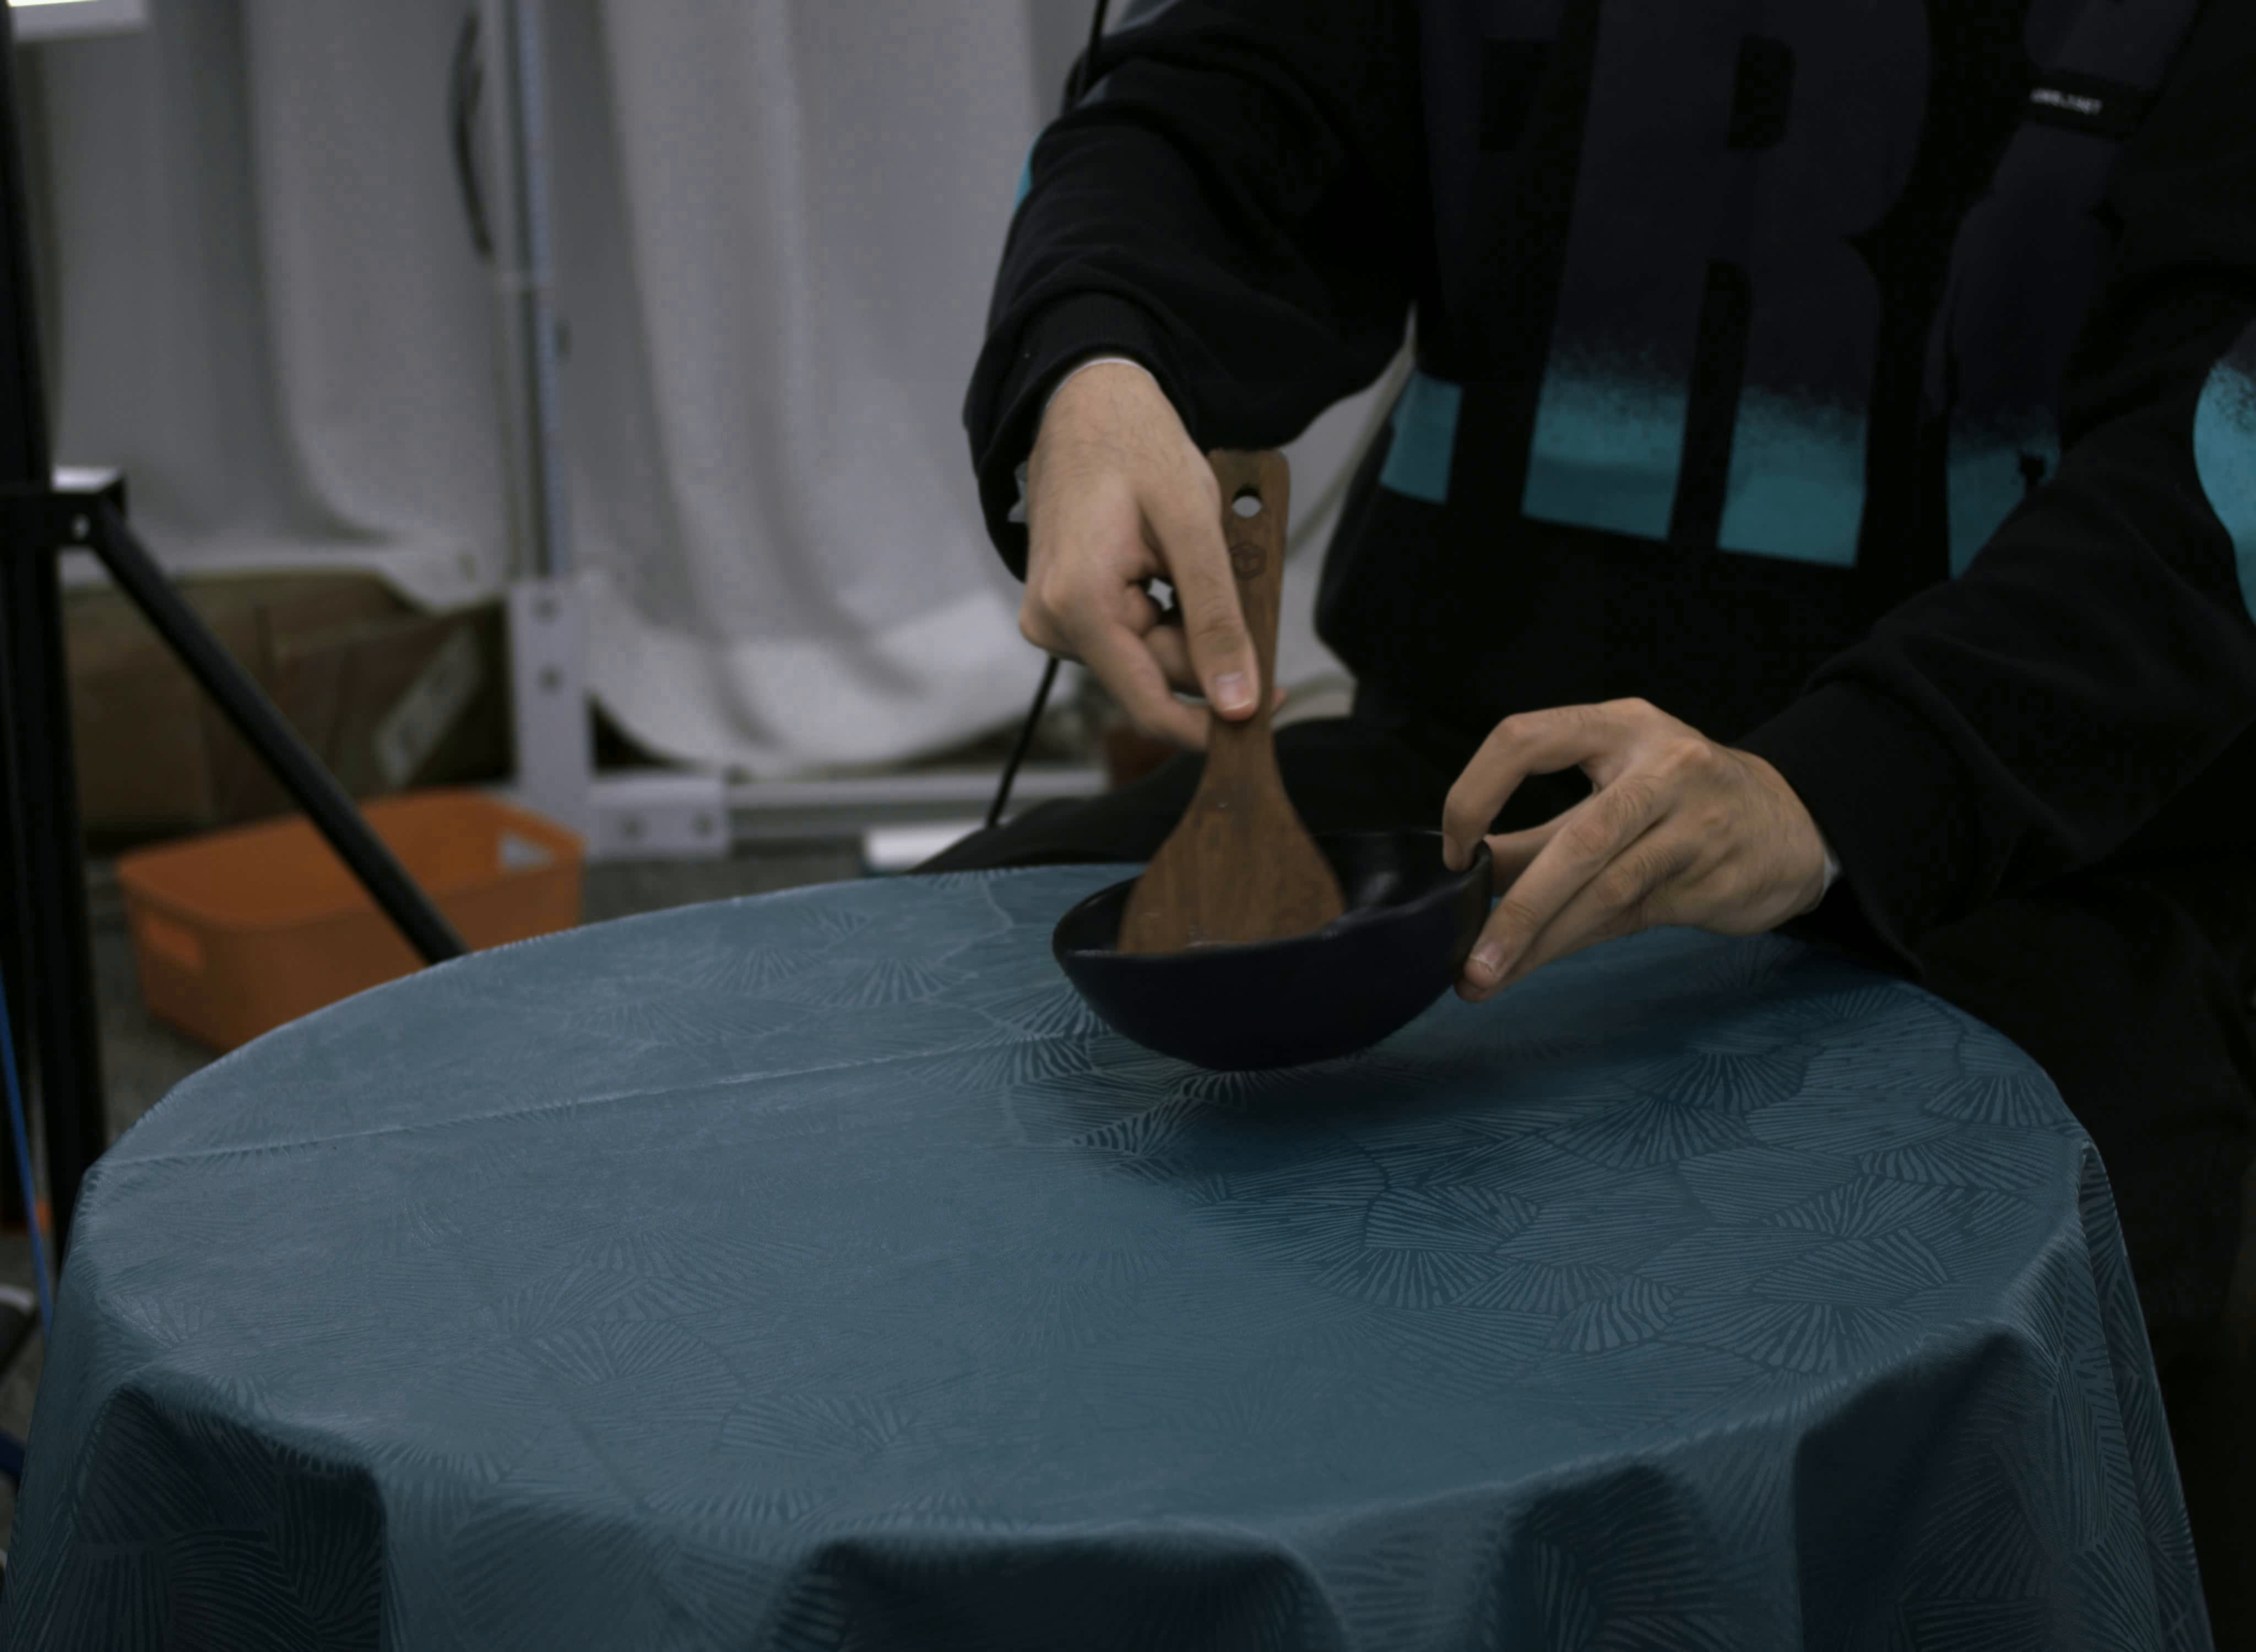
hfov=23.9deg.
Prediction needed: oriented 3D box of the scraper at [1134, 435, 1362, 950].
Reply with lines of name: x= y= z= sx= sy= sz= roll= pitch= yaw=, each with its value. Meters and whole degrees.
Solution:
scraper: x=0.040 y=-0.029 z=1.669 sx=0.075 sy=0.213 sz=0.011 roll=0 pitch=-26 yaw=3

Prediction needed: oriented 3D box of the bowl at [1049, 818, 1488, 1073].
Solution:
bowl: x=0.048 y=0.042 z=1.637 sx=0.139 sy=0.050 sz=0.140 roll=-14 pitch=10 yaw=1
